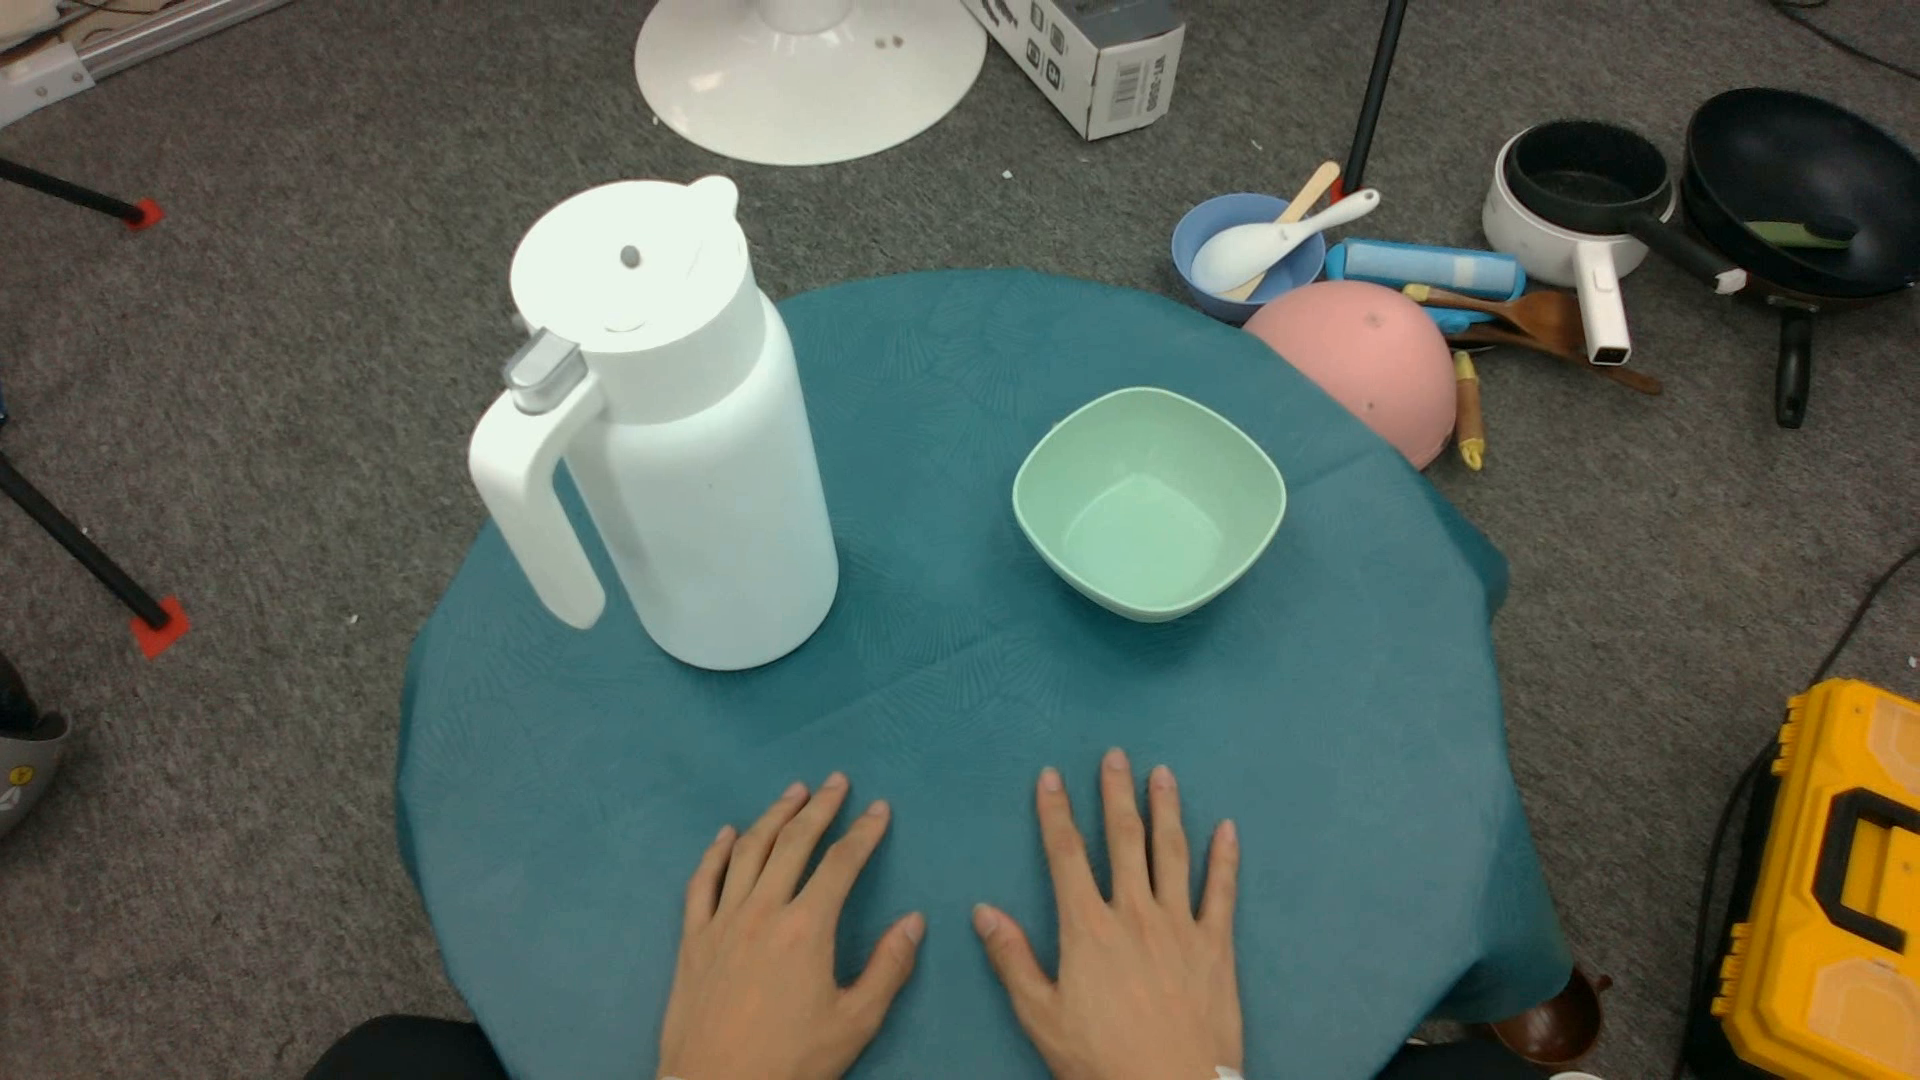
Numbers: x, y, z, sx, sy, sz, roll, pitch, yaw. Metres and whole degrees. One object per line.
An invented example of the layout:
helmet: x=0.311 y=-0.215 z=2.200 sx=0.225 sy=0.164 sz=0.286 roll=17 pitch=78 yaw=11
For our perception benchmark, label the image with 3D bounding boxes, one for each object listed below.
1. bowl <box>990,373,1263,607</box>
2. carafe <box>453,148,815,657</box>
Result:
bowl: x=0.093 y=-0.019 z=0.785 sx=0.151 sy=0.058 sz=0.152 roll=-1 pitch=57 yaw=1
carafe: x=-0.151 y=-0.038 z=0.677 sx=0.124 sy=0.267 sz=0.173 roll=23 pitch=61 yaw=13
